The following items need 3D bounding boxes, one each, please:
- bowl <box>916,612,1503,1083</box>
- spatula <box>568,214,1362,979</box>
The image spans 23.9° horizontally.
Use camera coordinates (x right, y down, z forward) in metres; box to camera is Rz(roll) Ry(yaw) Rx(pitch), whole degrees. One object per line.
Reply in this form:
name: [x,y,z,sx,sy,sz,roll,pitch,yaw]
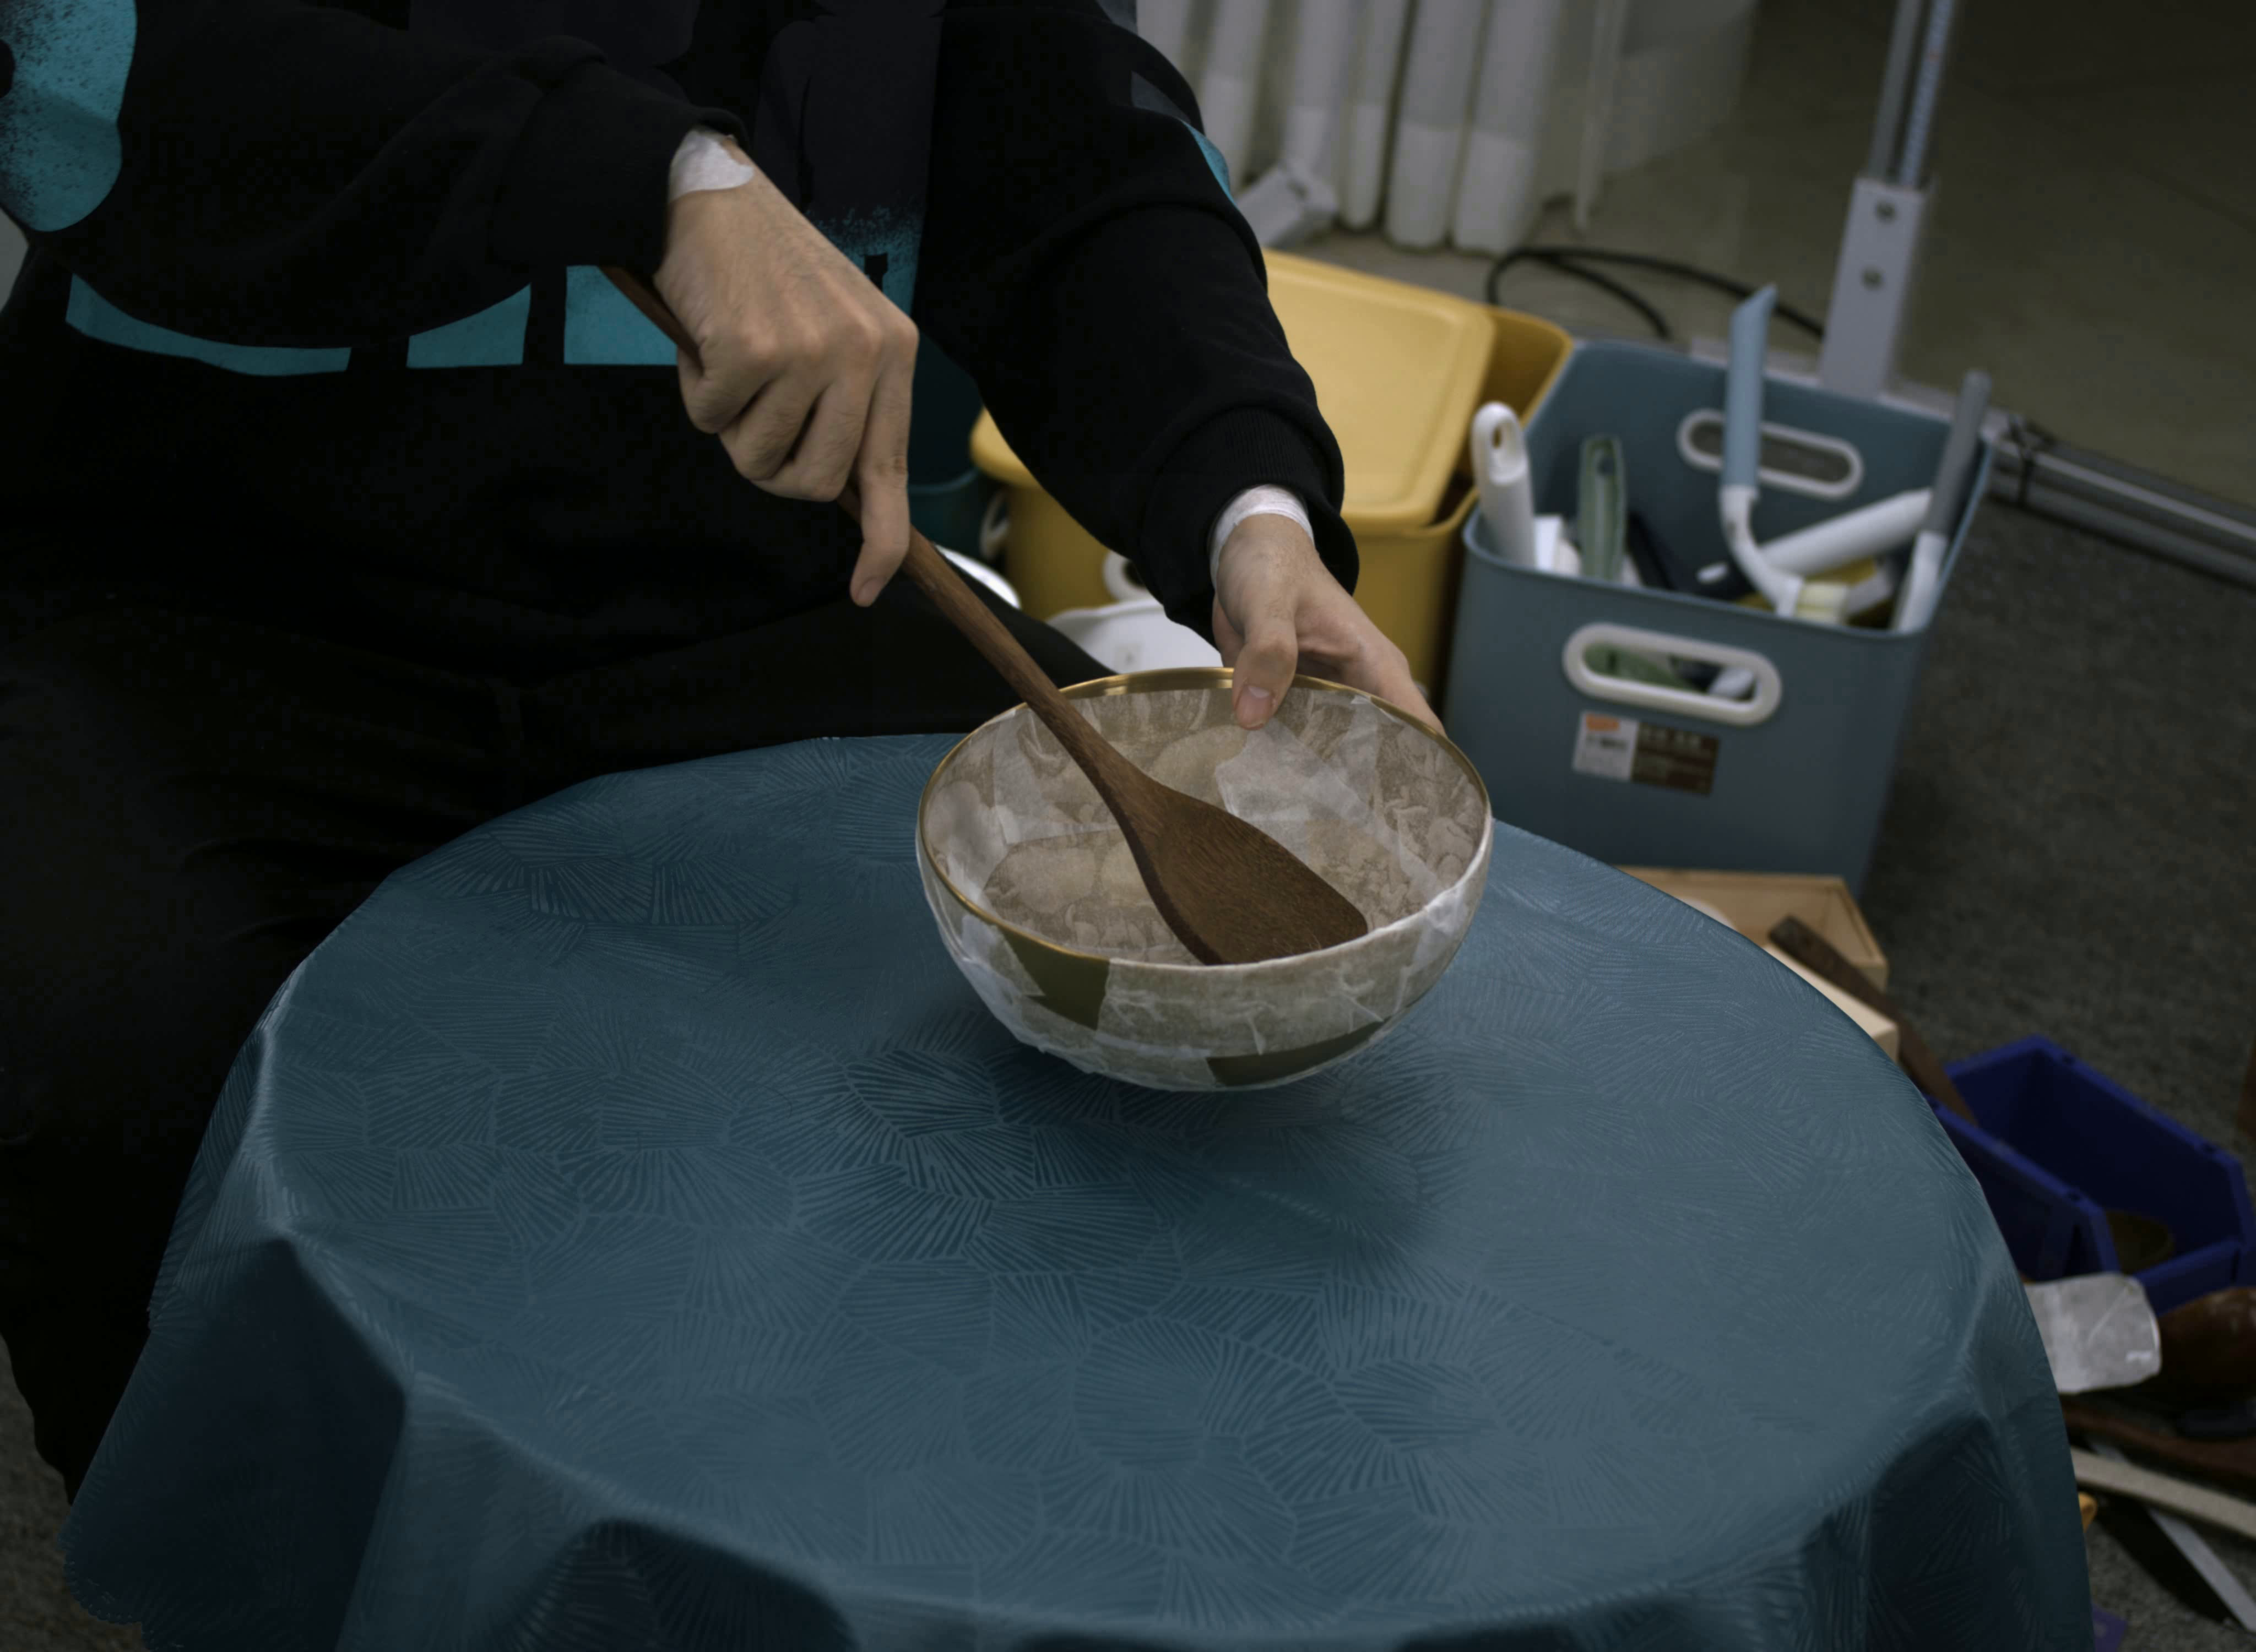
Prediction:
bowl: [0.027,0.021,1.865,0.214,0.094,0.216,1,39,-1]
spatula: [-0.057,-0.075,1.860,0.385,0.016,0.096,46,29,-4]
